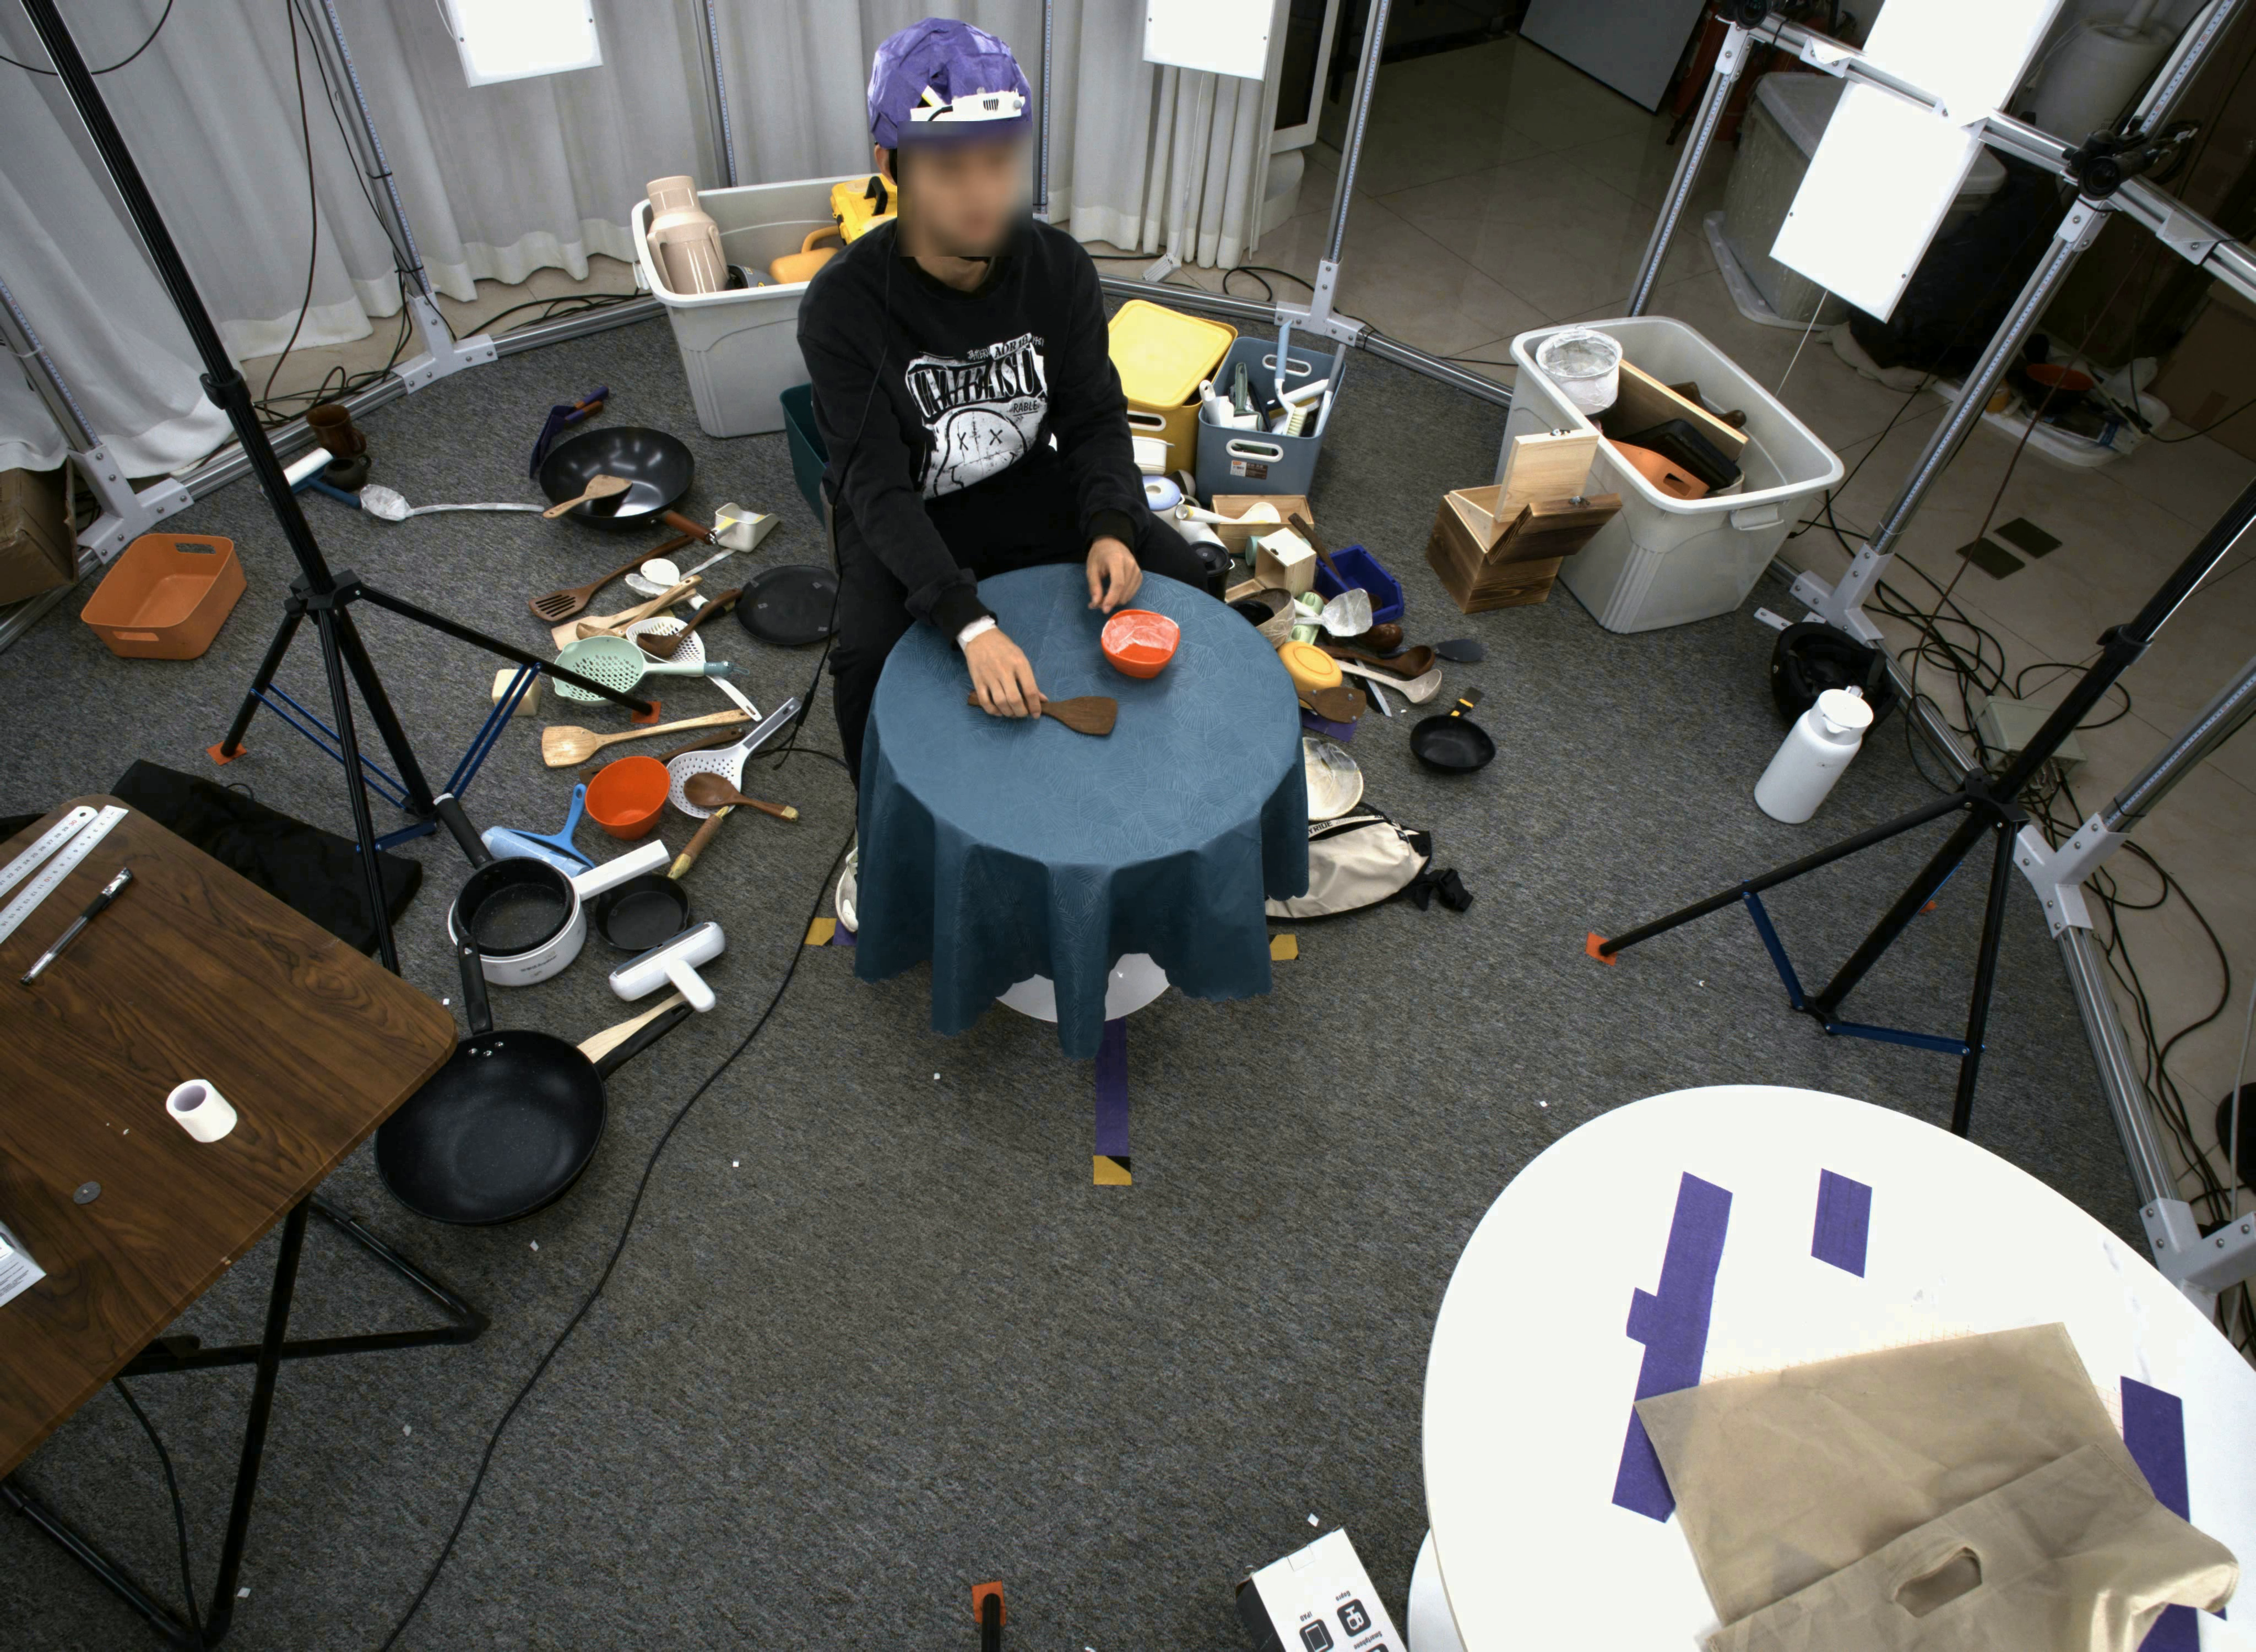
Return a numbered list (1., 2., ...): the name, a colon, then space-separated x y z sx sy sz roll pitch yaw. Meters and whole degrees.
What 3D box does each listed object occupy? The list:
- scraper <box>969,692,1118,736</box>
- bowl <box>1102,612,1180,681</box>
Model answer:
1. scraper: -0.120 -0.166 1.816 0.211 0.010 0.077 9 48 5
2. bowl: 0.018 -0.256 1.877 0.119 0.050 0.122 2 51 -2
